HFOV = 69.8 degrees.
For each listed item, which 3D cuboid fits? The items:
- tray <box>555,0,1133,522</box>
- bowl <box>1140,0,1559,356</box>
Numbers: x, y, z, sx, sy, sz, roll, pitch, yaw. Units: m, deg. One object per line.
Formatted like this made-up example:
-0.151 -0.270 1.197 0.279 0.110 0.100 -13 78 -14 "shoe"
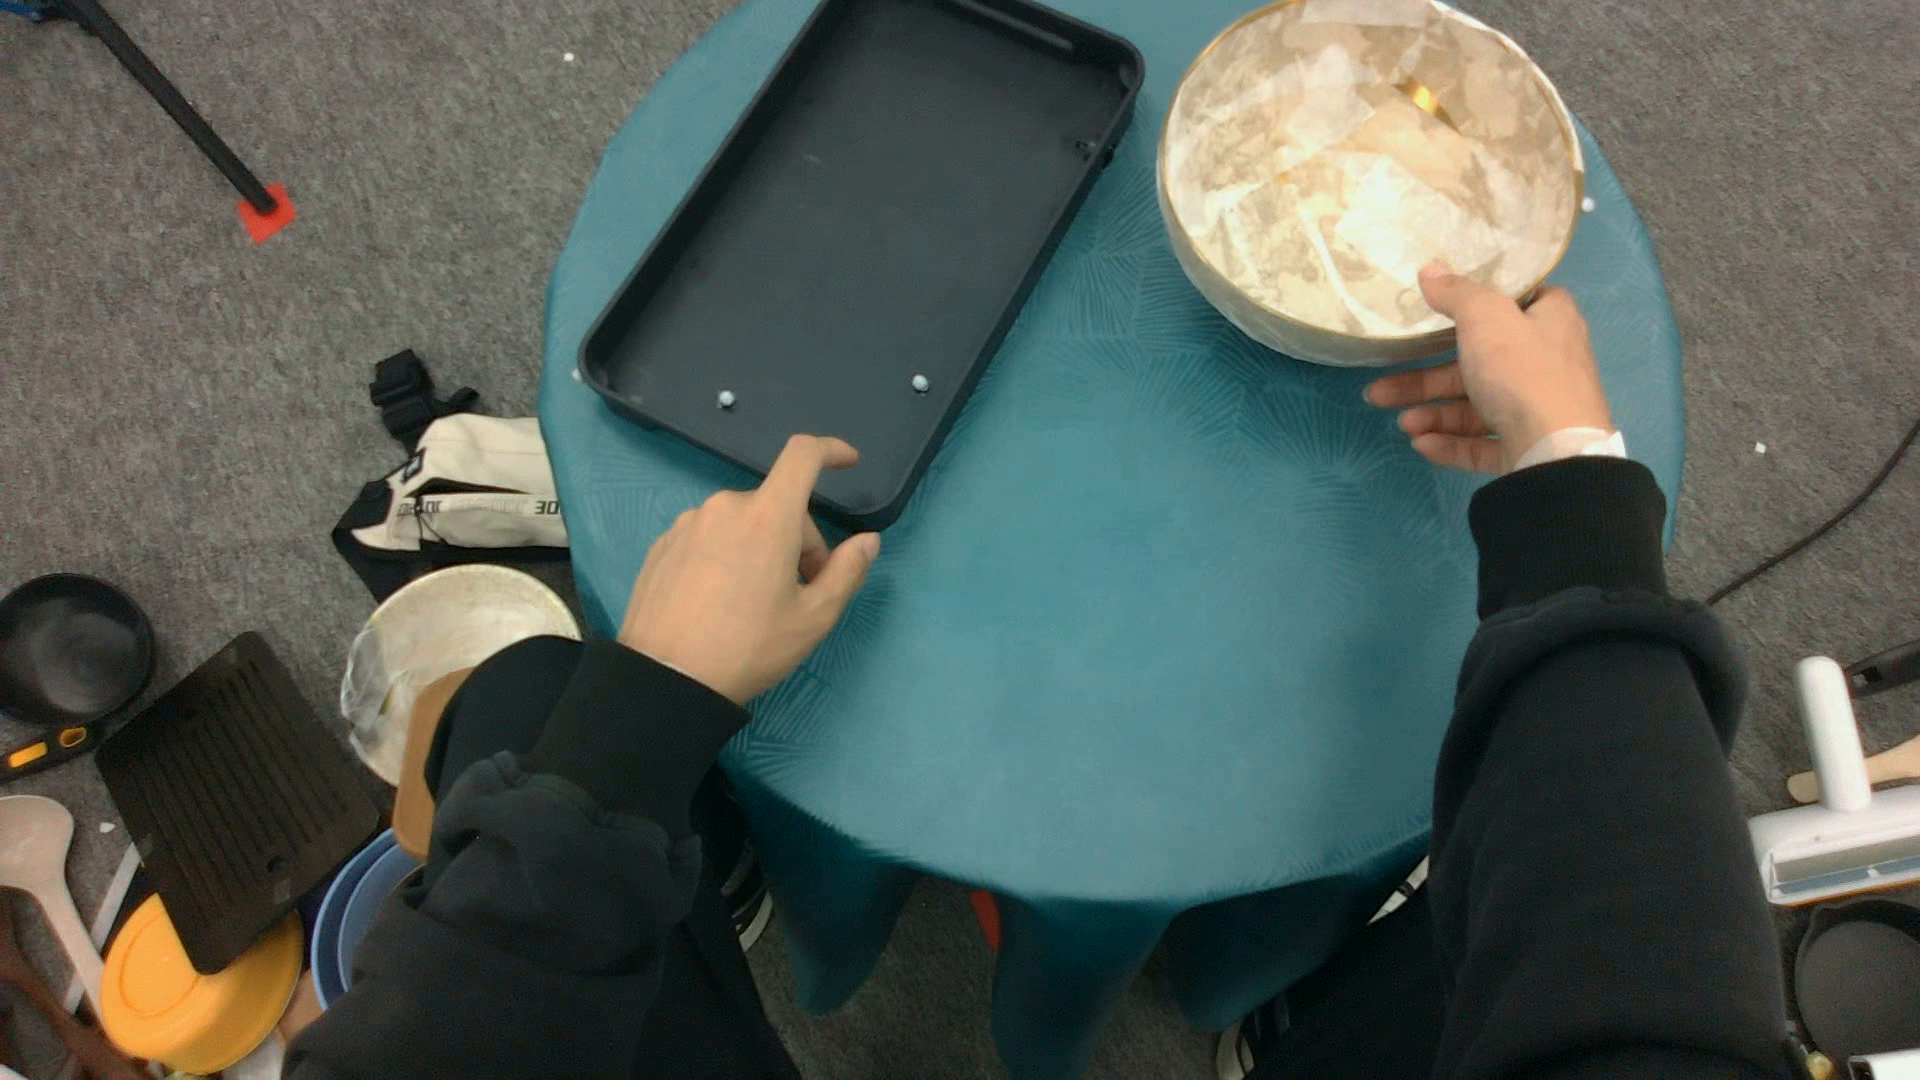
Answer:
-0.054 -0.174 0.737 0.184 0.037 0.319 28 70 11 "tray"
0.185 -0.174 0.705 0.215 0.094 0.215 0 70 -1 "bowl"
